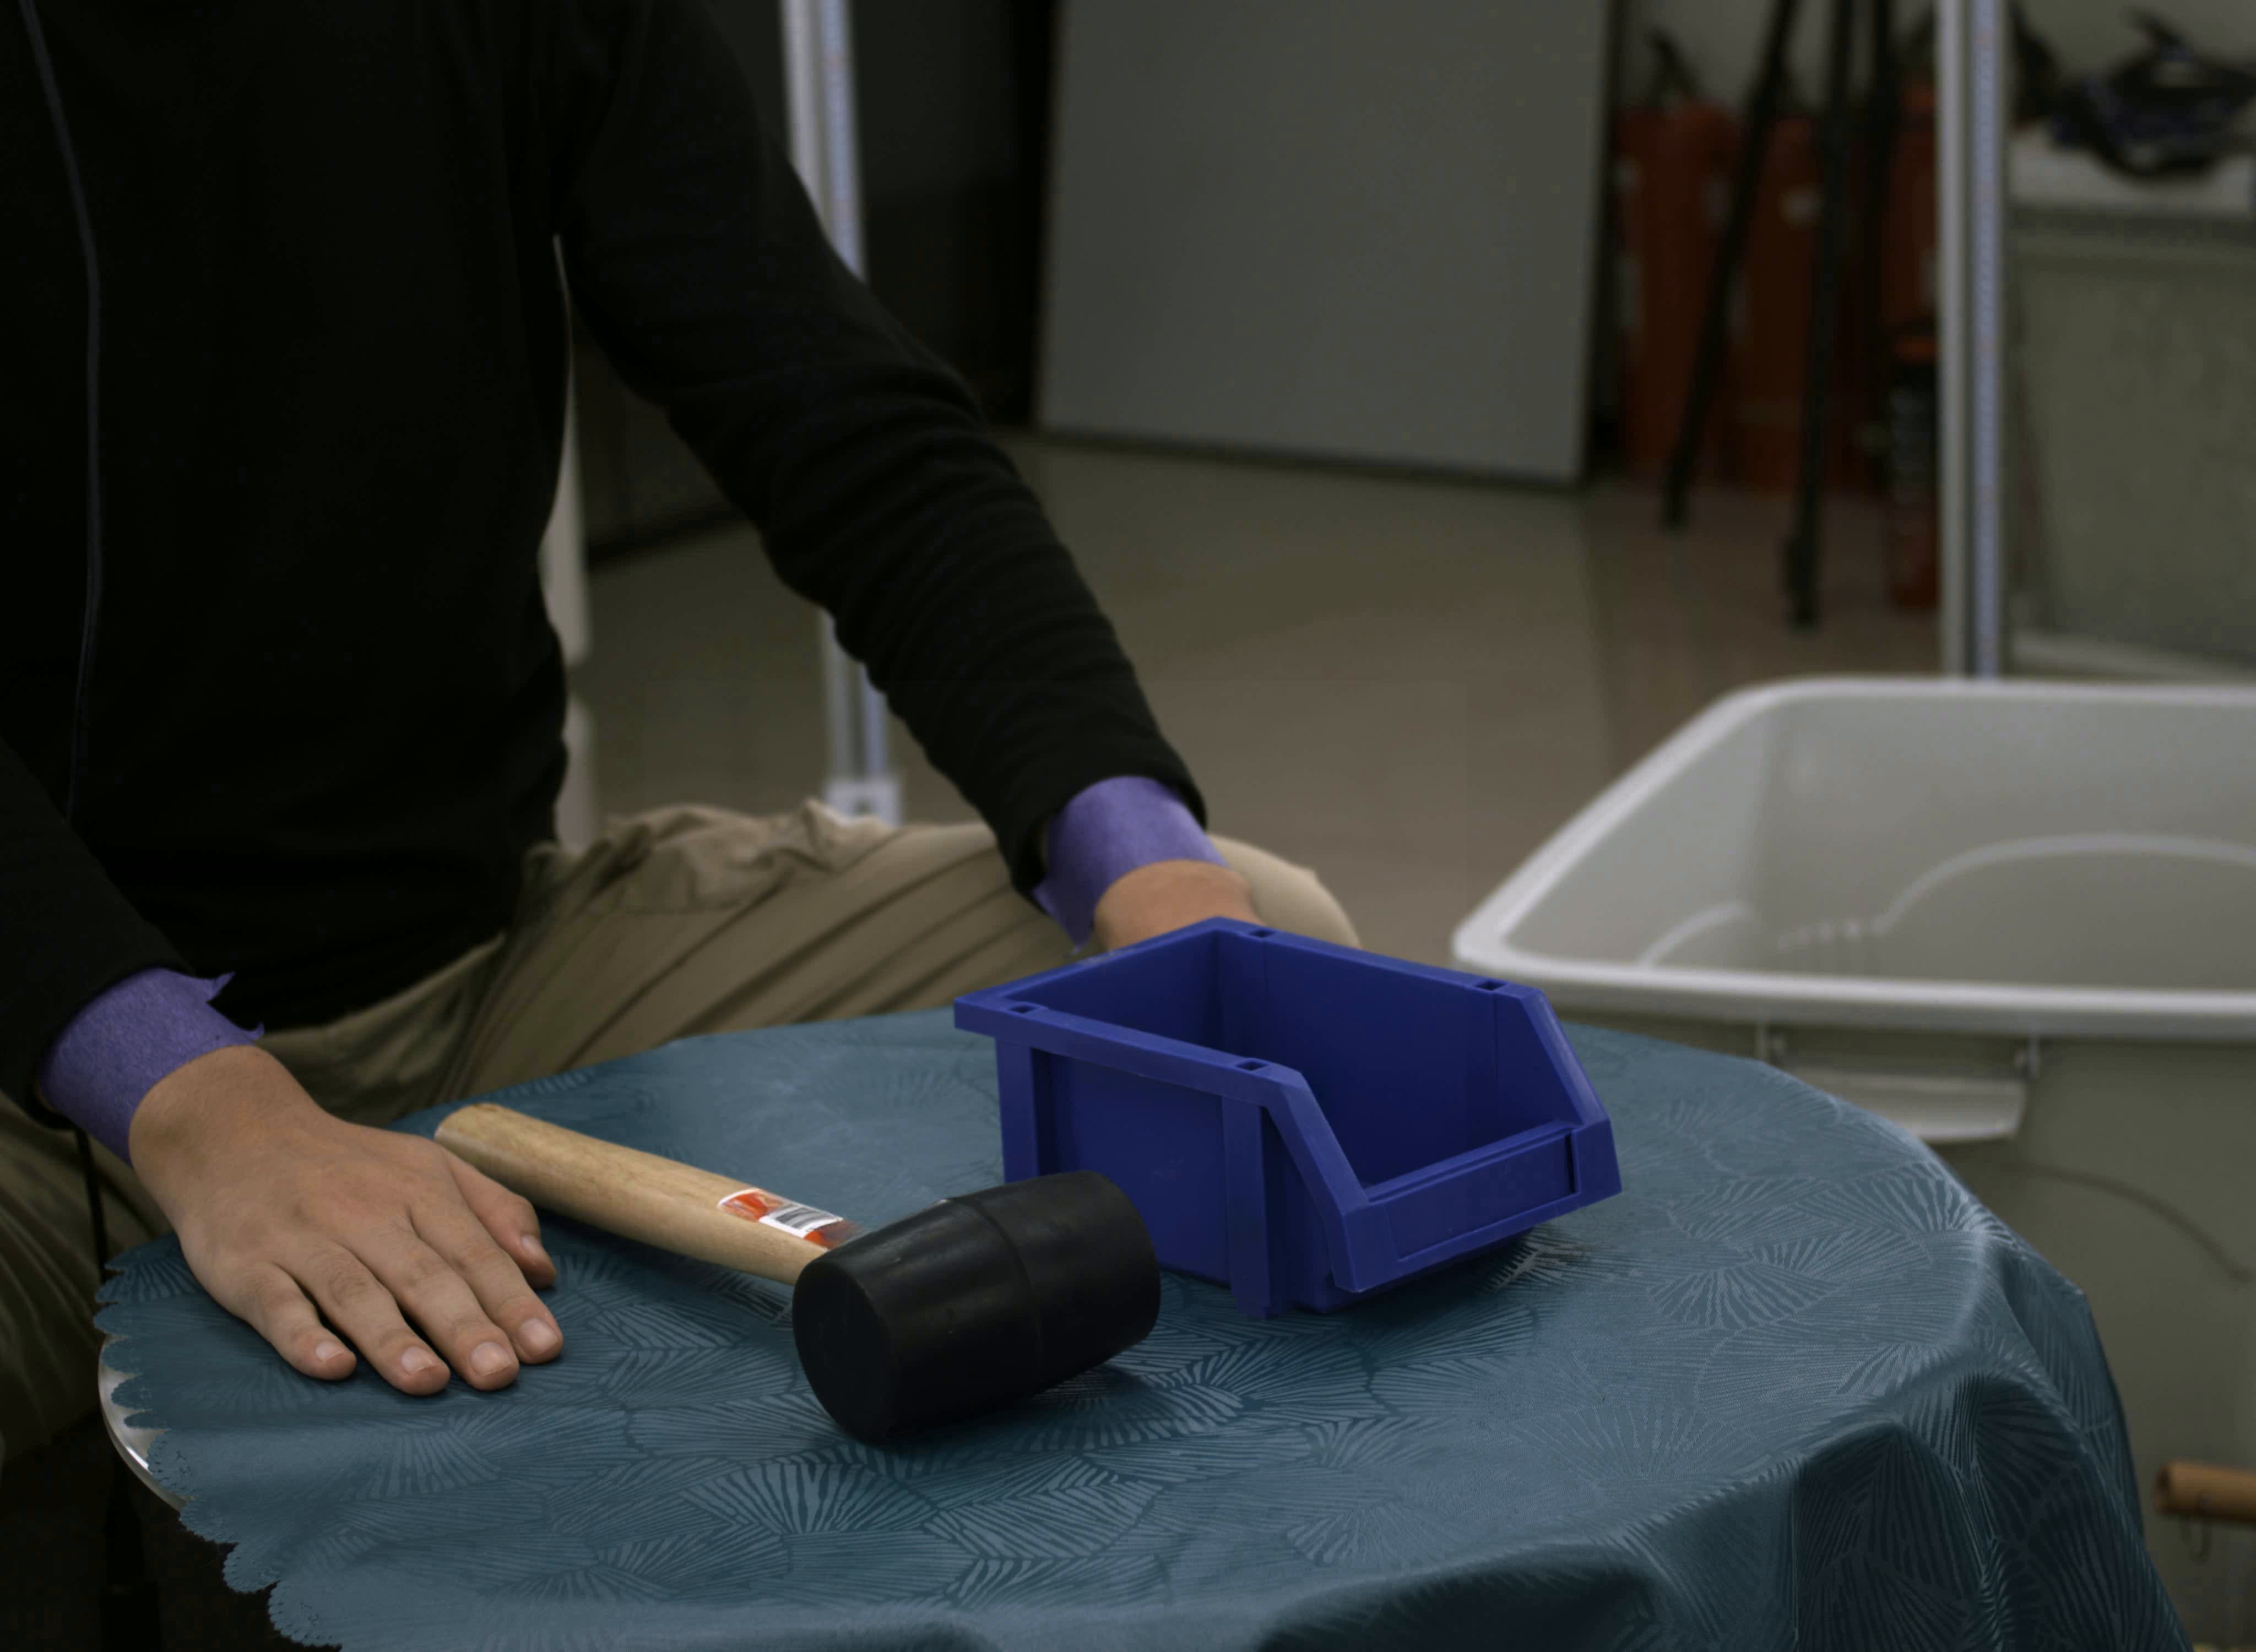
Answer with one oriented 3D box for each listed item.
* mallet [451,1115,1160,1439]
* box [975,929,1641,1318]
[{"bbox_3d":[-0.123,0.120,1.692,0.099,0.065,0.342,-12,15,-32],"label":"mallet"},{"bbox_3d":[0.058,0.093,1.699,0.122,0.083,0.181,-15,14,-38],"label":"box"}]
